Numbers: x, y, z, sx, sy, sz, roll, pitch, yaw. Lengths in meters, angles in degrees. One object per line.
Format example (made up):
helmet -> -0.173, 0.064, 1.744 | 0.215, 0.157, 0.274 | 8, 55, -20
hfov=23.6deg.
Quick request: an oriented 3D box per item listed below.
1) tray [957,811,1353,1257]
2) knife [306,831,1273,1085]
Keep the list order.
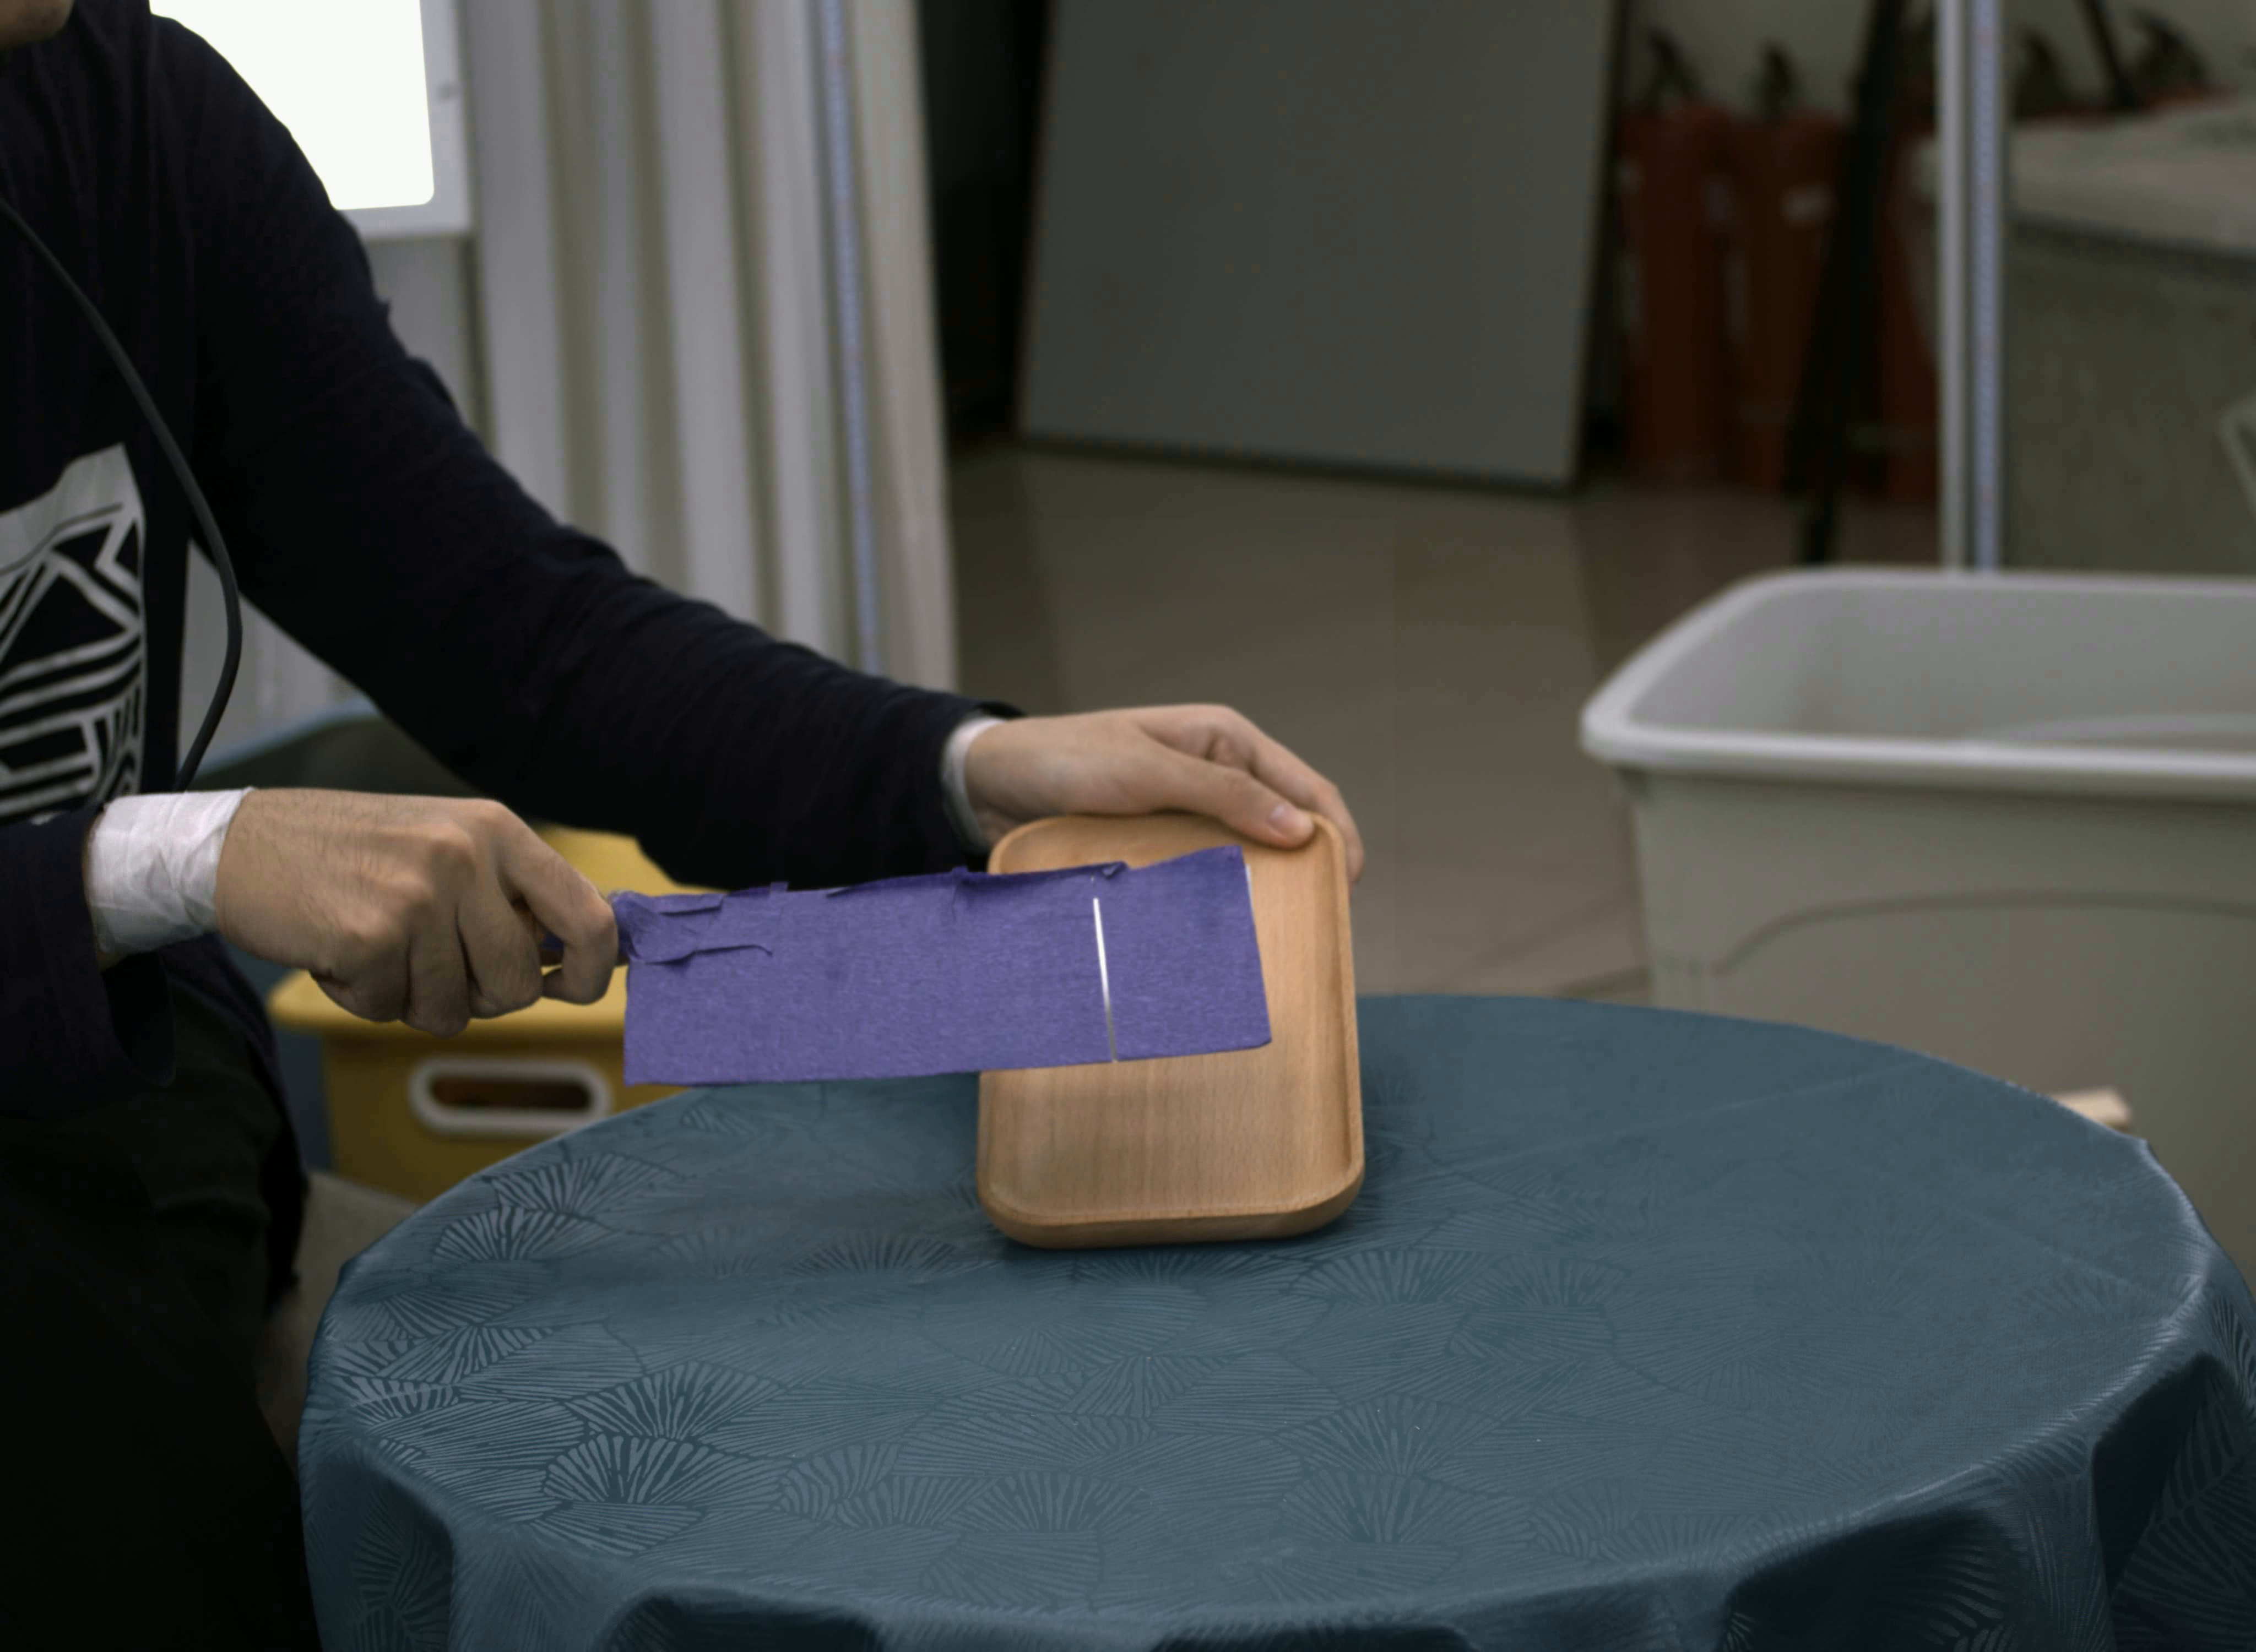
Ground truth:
tray -> 0.012, 0.067, 1.815 | 0.129, 0.023, 0.251 | -4, 32, 6
knife -> -0.110, 0.046, 1.733 | 0.311, 0.032, 0.104 | -6, 37, 3
